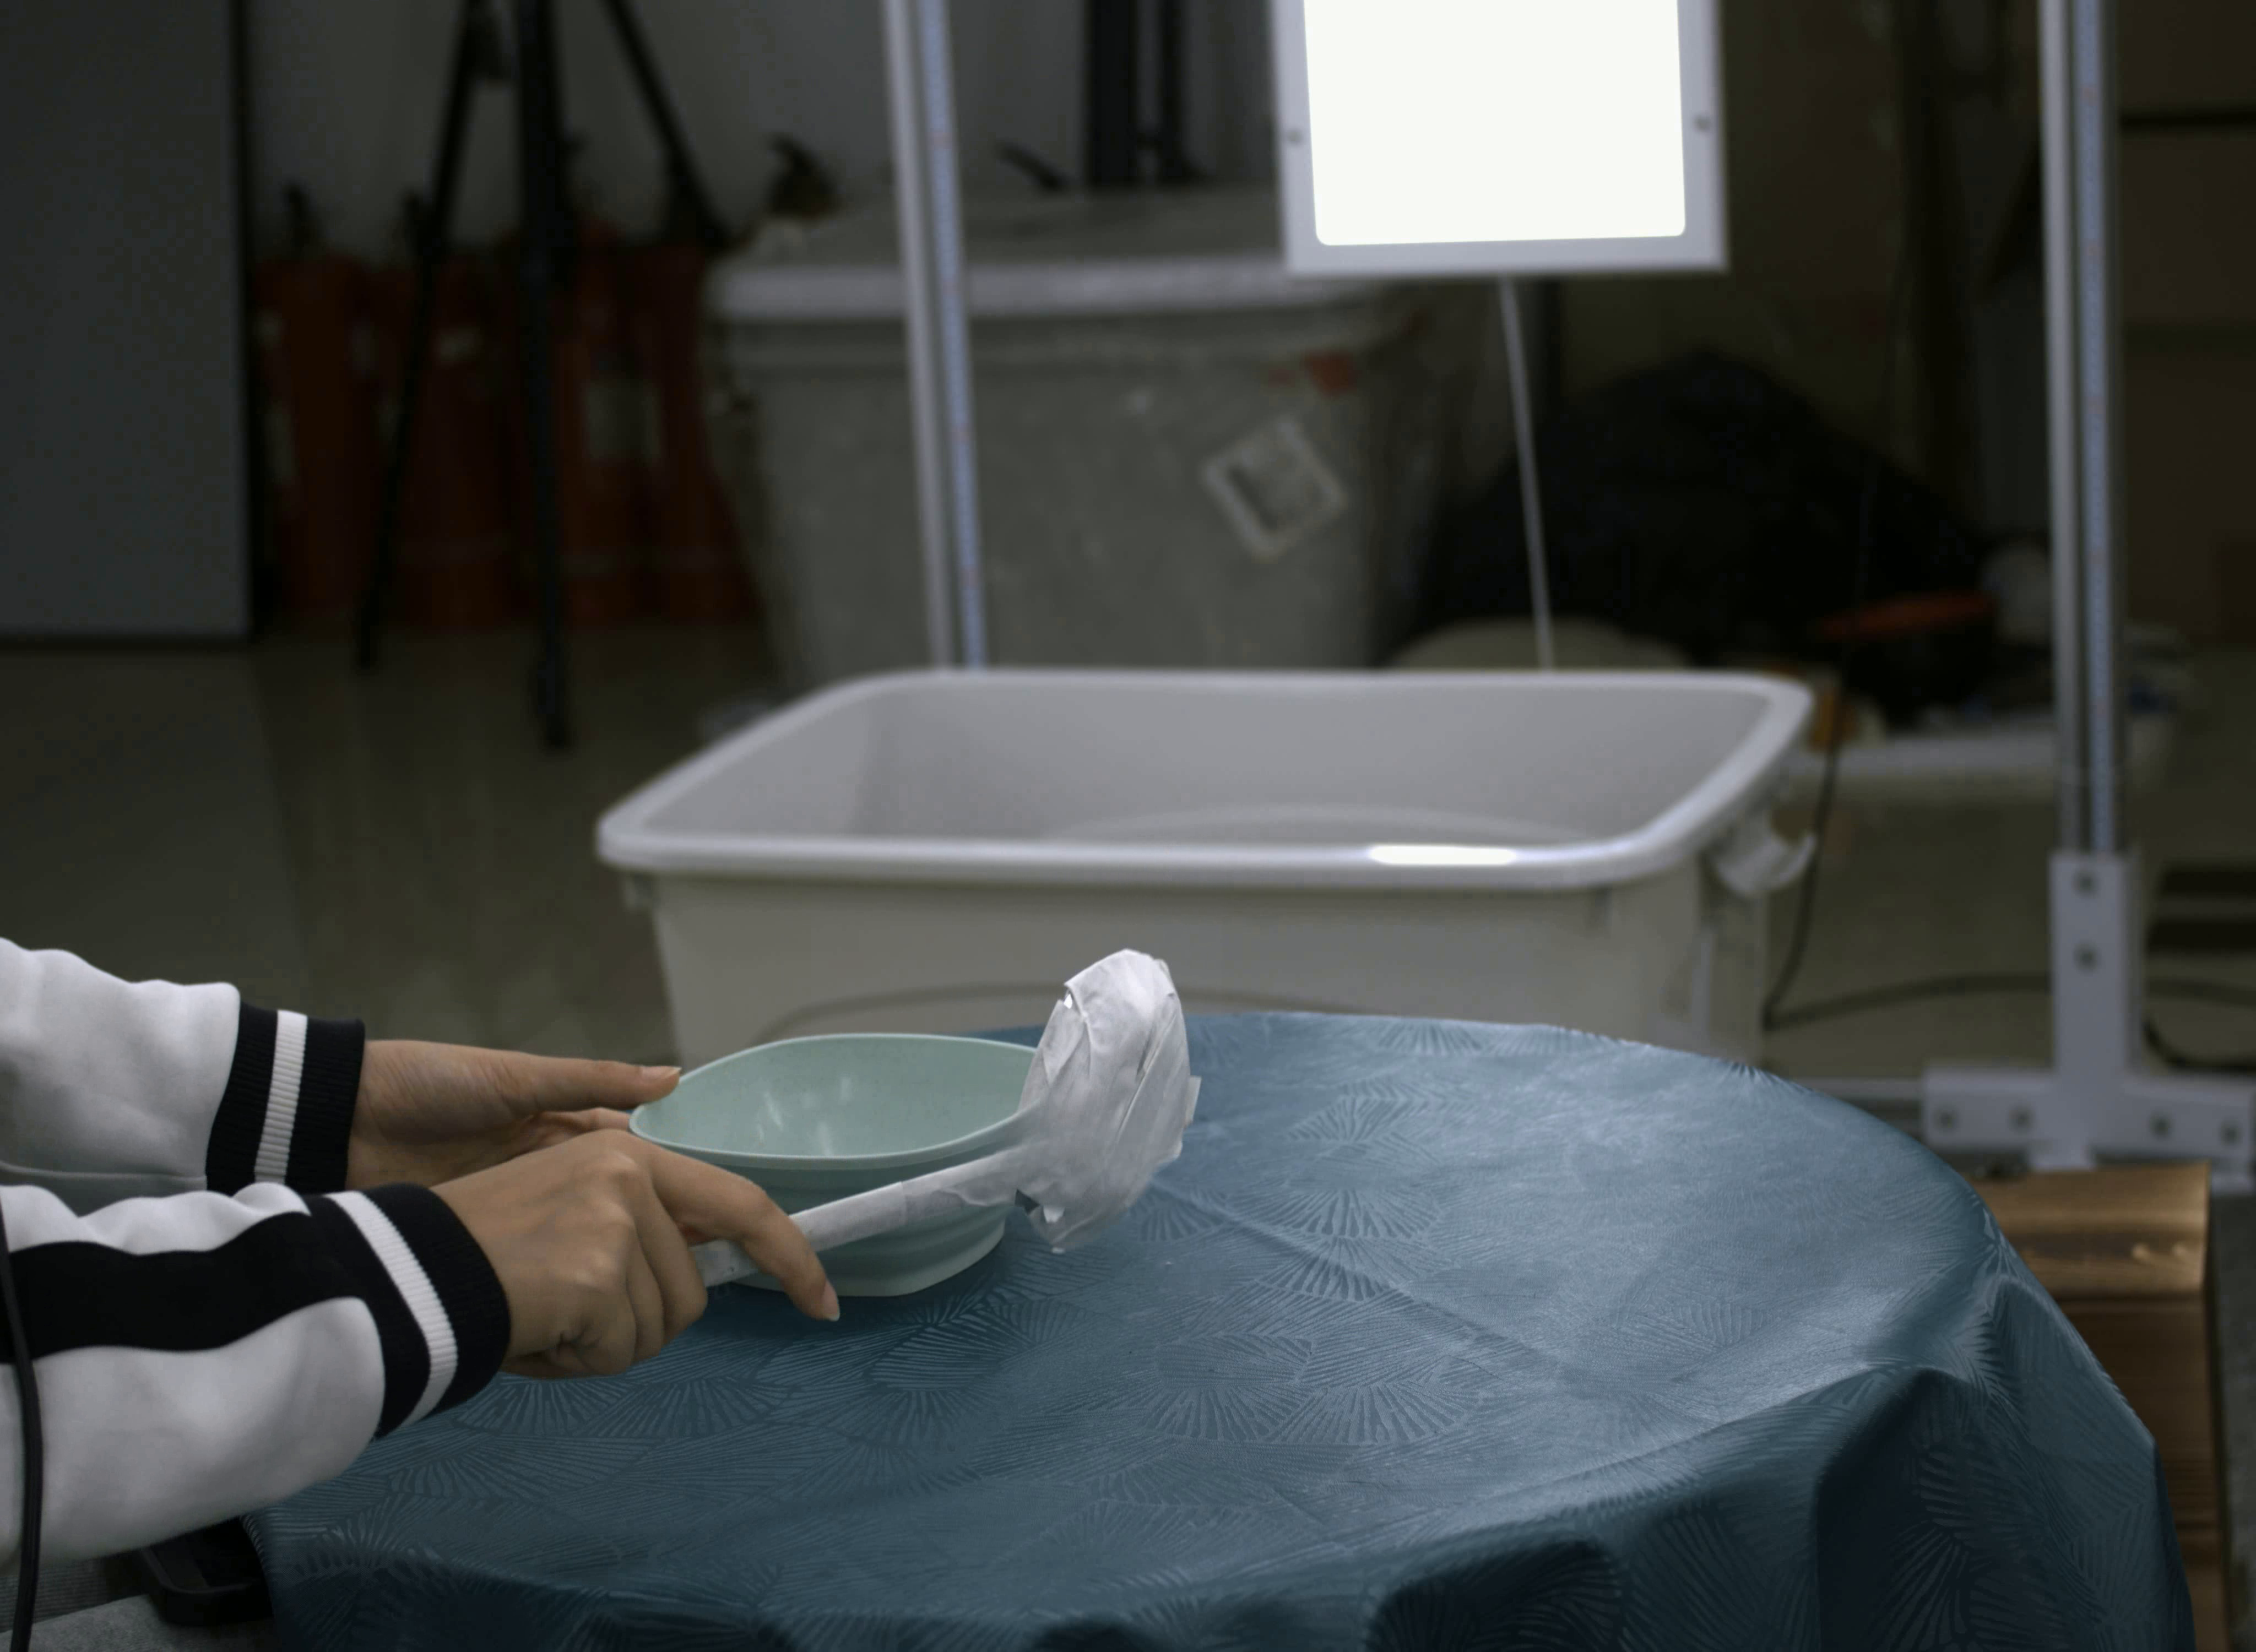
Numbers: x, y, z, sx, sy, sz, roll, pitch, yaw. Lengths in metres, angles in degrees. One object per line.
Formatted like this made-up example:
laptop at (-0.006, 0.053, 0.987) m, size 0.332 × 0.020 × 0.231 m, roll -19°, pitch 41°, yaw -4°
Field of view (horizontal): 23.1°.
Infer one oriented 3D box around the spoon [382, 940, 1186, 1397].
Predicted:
spoon at (-0.098, 0.114, 1.649) m, size 0.273 × 0.101 × 0.060 m, roll -18°, pitch 26°, yaw -15°

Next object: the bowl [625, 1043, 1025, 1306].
bowl at (-0.092, 0.120, 1.850) m, size 0.151 × 0.059 × 0.151 m, roll -5°, pitch 14°, yaw 0°
